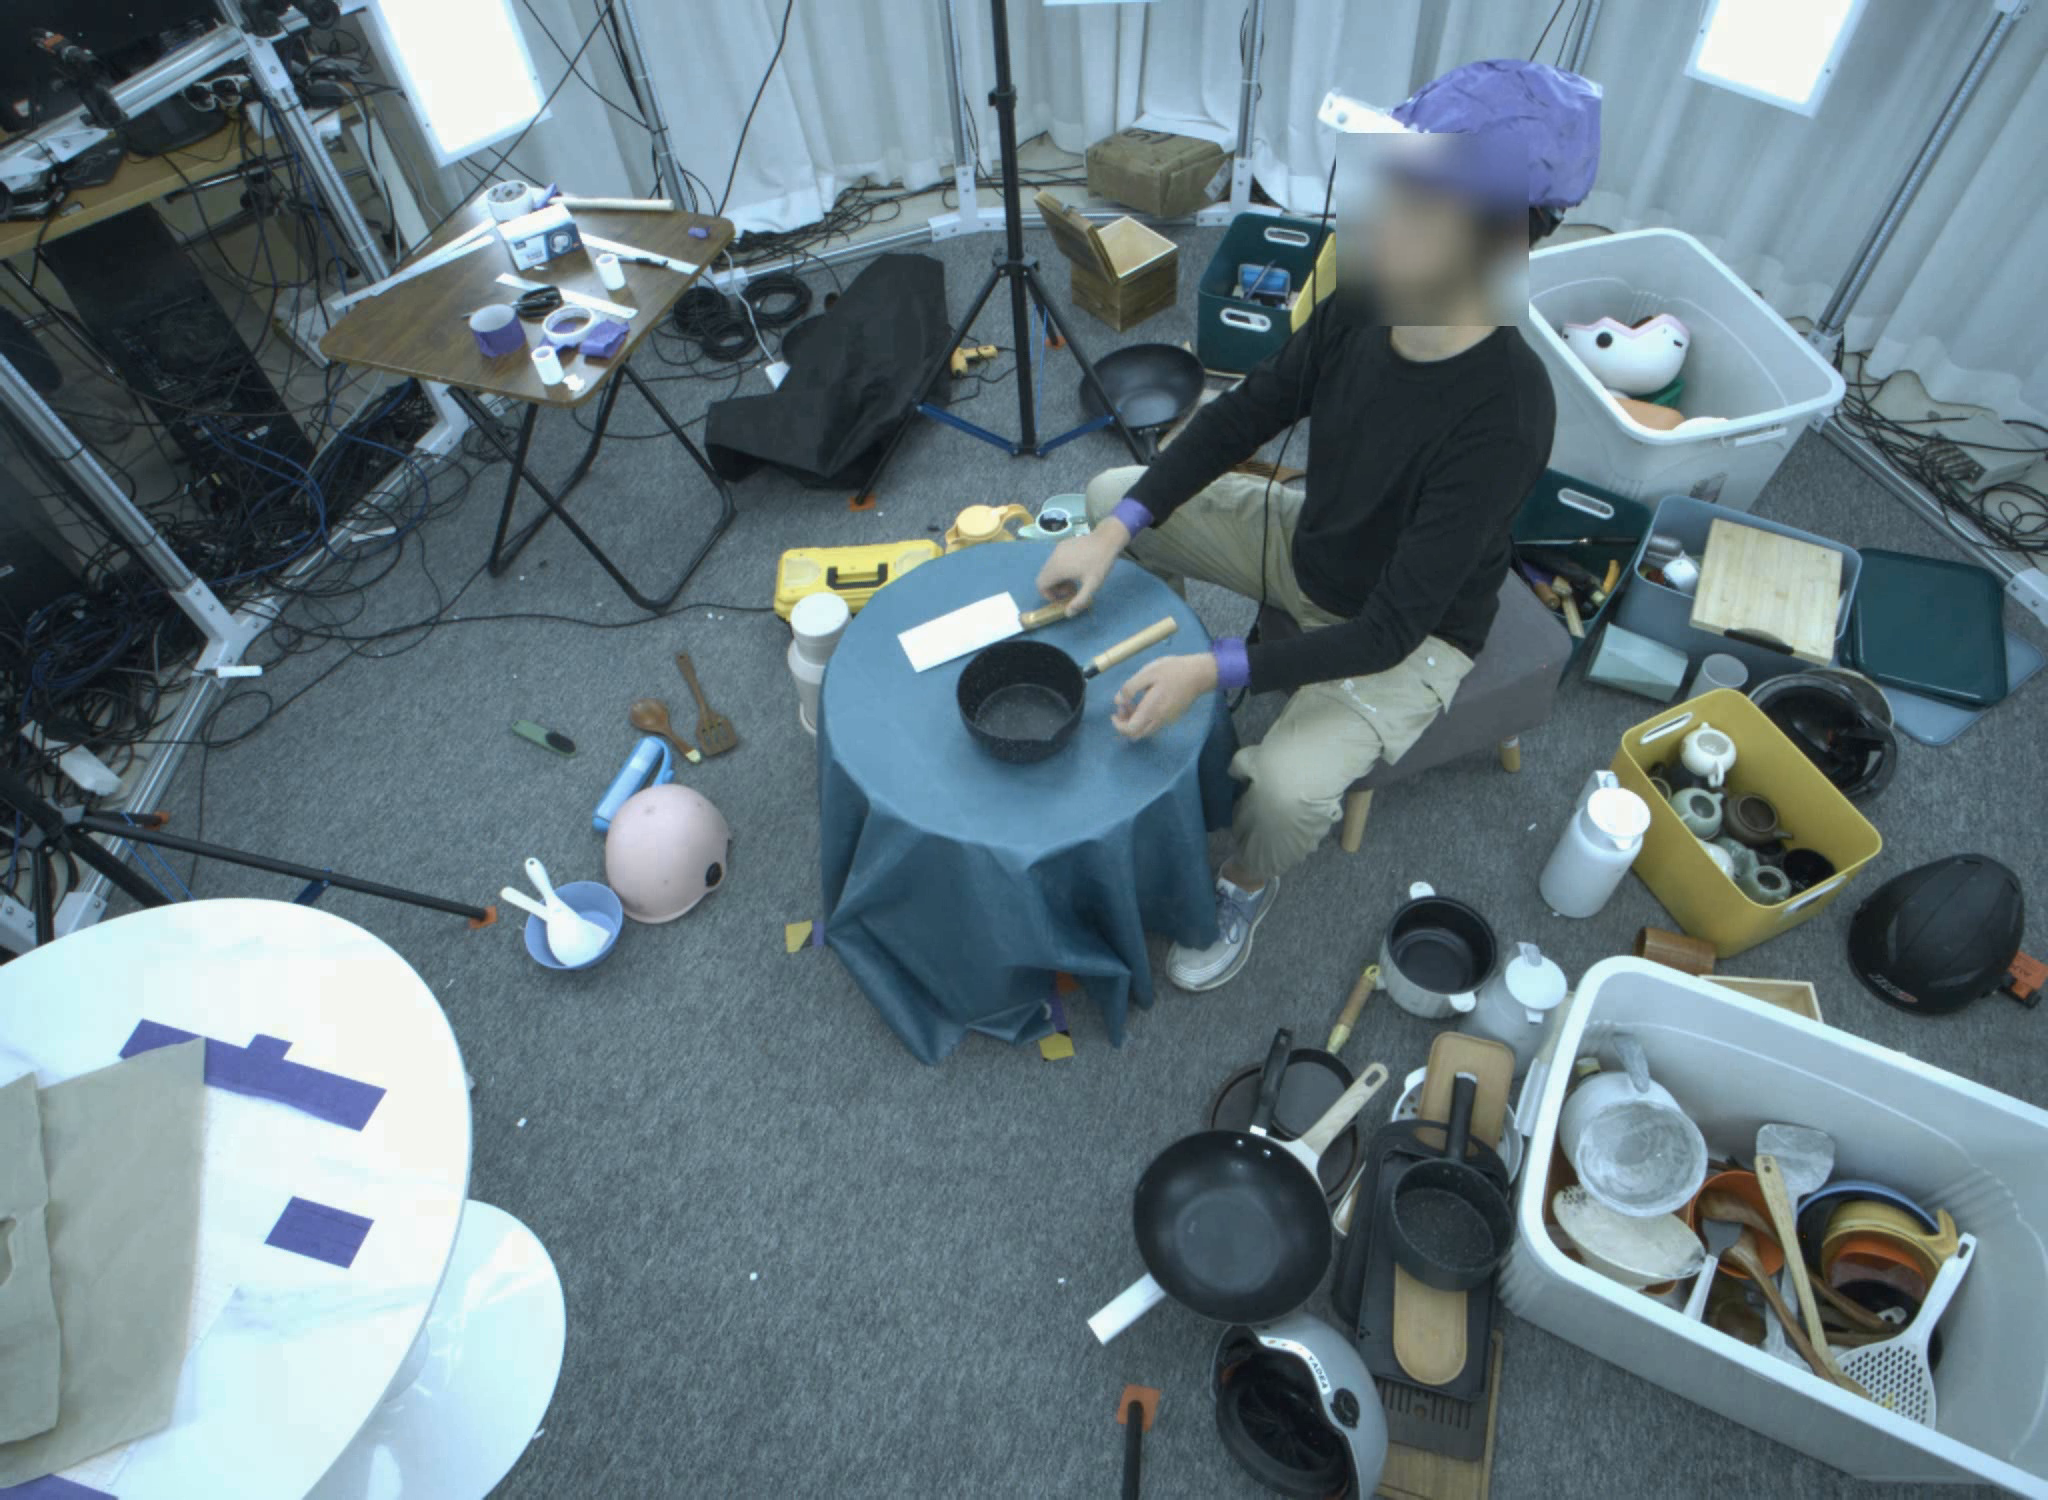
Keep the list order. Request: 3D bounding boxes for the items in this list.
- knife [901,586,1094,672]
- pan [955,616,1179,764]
[{"bbox_3d":[-0.044,-0.206,1.922,0.307,0.021,0.091,-23,56,-11],"label":"knife"},{"bbox_3d":[0.068,-0.100,1.788,0.345,0.109,0.203,-23,56,-13],"label":"pan"}]
